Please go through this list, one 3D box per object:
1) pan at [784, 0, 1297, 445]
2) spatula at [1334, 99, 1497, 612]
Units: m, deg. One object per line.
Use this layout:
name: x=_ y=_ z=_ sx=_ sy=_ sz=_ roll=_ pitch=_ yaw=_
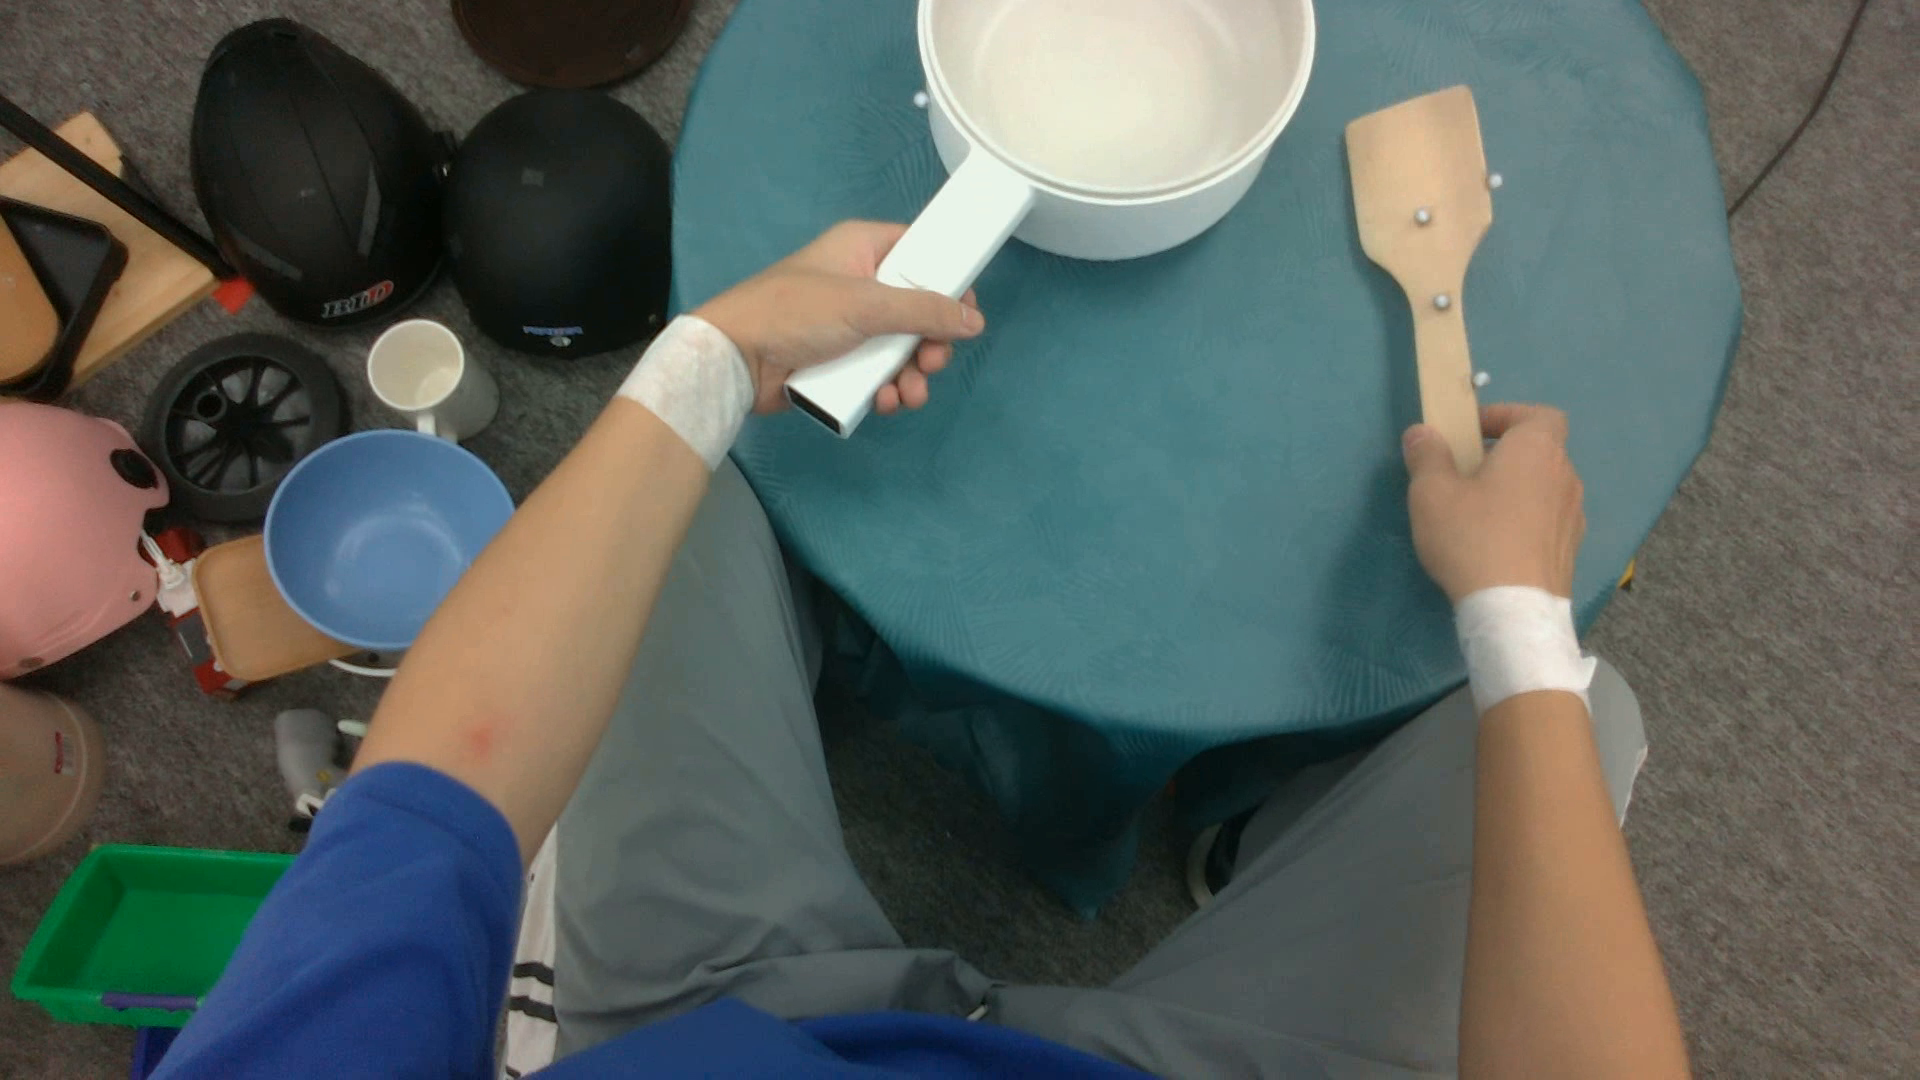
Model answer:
pan: x=0.031 y=-0.190 z=0.743 sx=0.201 sy=0.102 sz=0.355 roll=34 pitch=78 yaw=6
spatula: x=0.254 y=-0.103 z=0.741 sx=0.072 sy=0.010 sz=0.294 roll=-13 pitch=69 yaw=28
